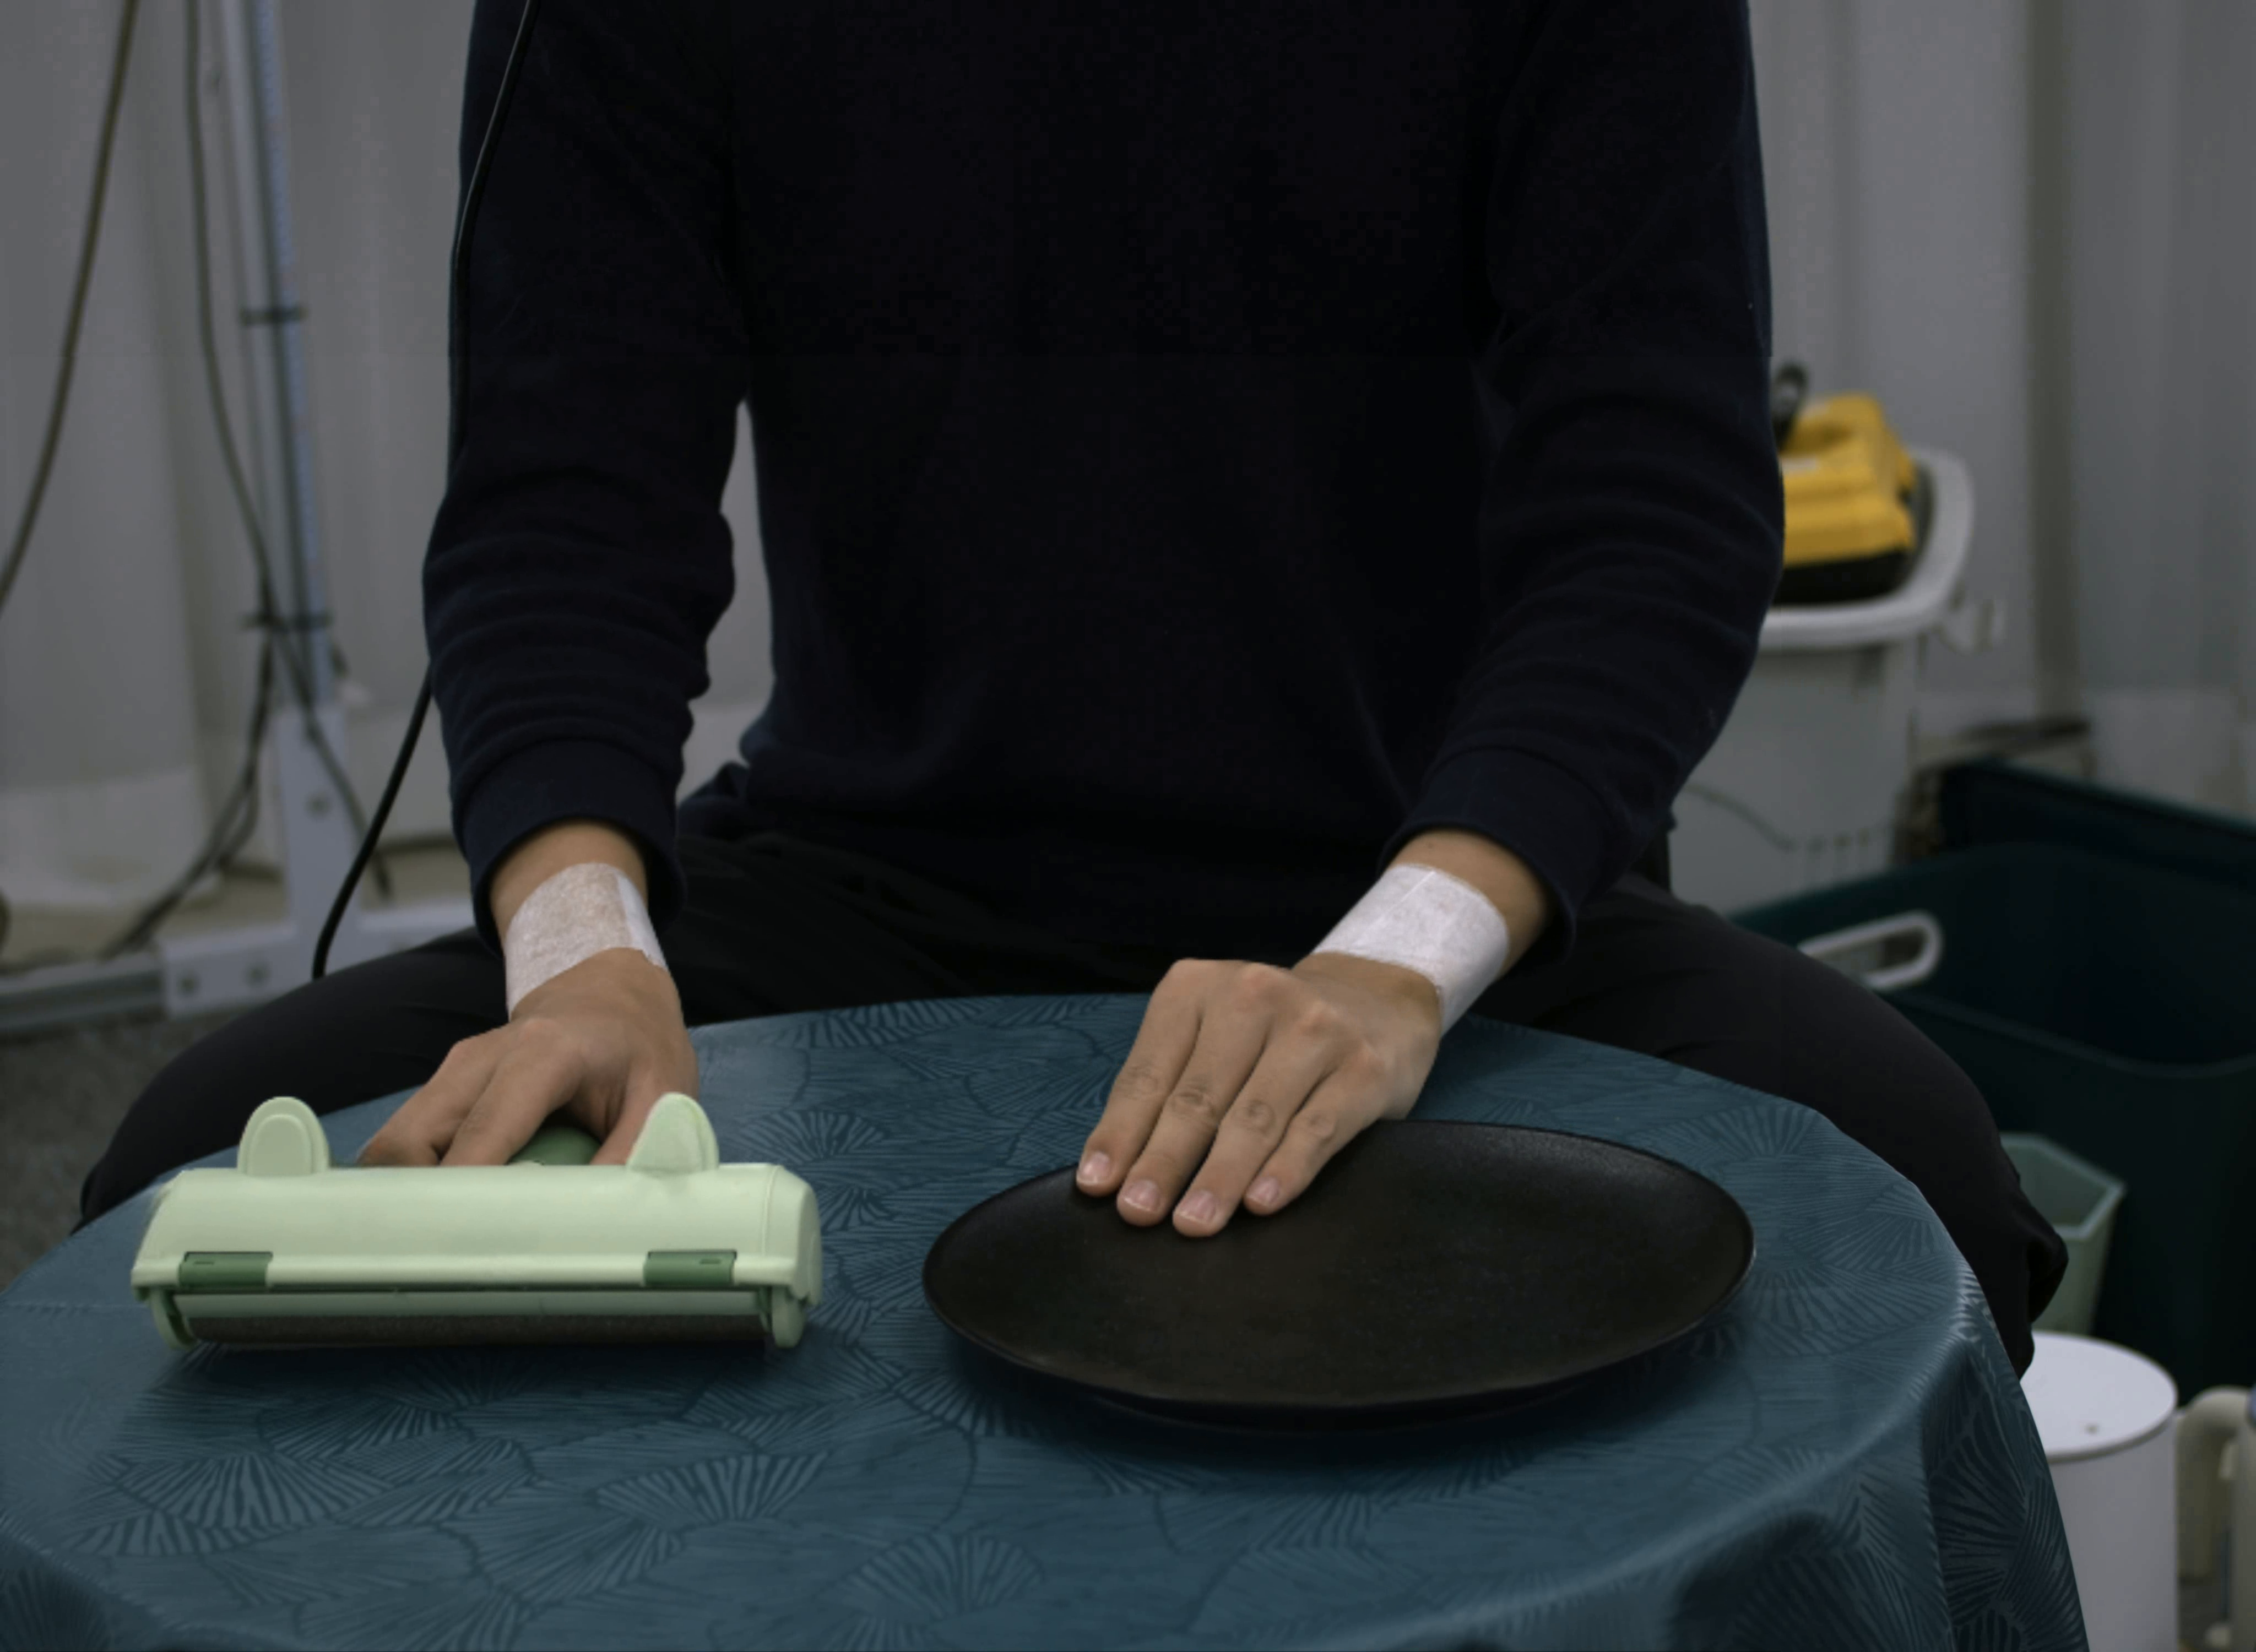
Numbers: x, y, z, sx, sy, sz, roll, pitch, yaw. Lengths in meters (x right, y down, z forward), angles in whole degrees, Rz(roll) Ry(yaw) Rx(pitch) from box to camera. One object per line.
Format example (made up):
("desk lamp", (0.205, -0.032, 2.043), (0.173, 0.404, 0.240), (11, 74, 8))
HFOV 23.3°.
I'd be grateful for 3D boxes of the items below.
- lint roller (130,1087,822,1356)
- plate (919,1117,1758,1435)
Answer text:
("lint roller", (-0.185, 0.098, 1.647), (0.198, 0.081, 0.185), (-1, 21, 5))
("plate", (0.061, 0.133, 1.587), (0.243, 0.023, 0.246), (-3, 15, 0))
